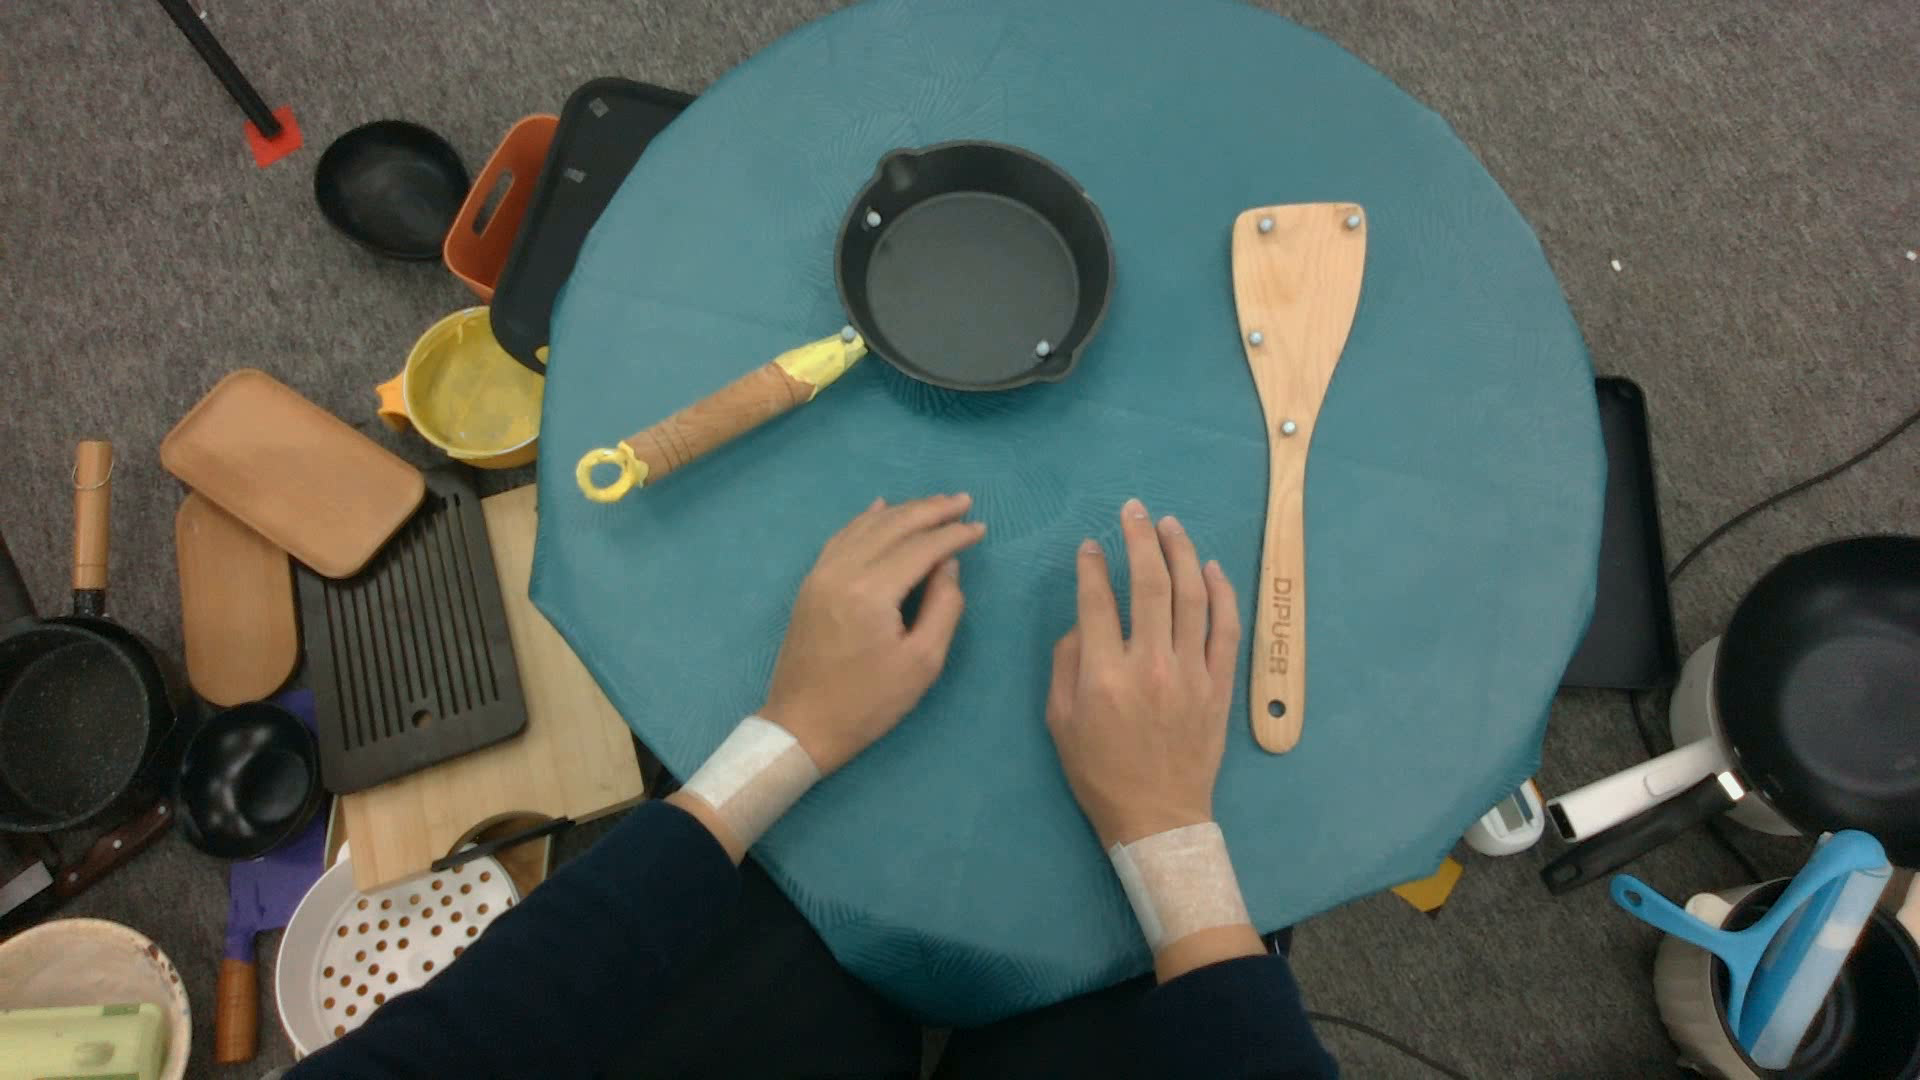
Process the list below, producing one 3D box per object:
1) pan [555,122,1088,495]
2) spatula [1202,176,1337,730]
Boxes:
[{"bbox_3d":[-0.075,-0.116,0.753,0.325,0.049,0.169,-33,78,-14],"label":"pan"},{"bbox_3d":[0.170,-0.058,0.767,0.080,0.016,0.328,5,73,-1],"label":"spatula"}]
